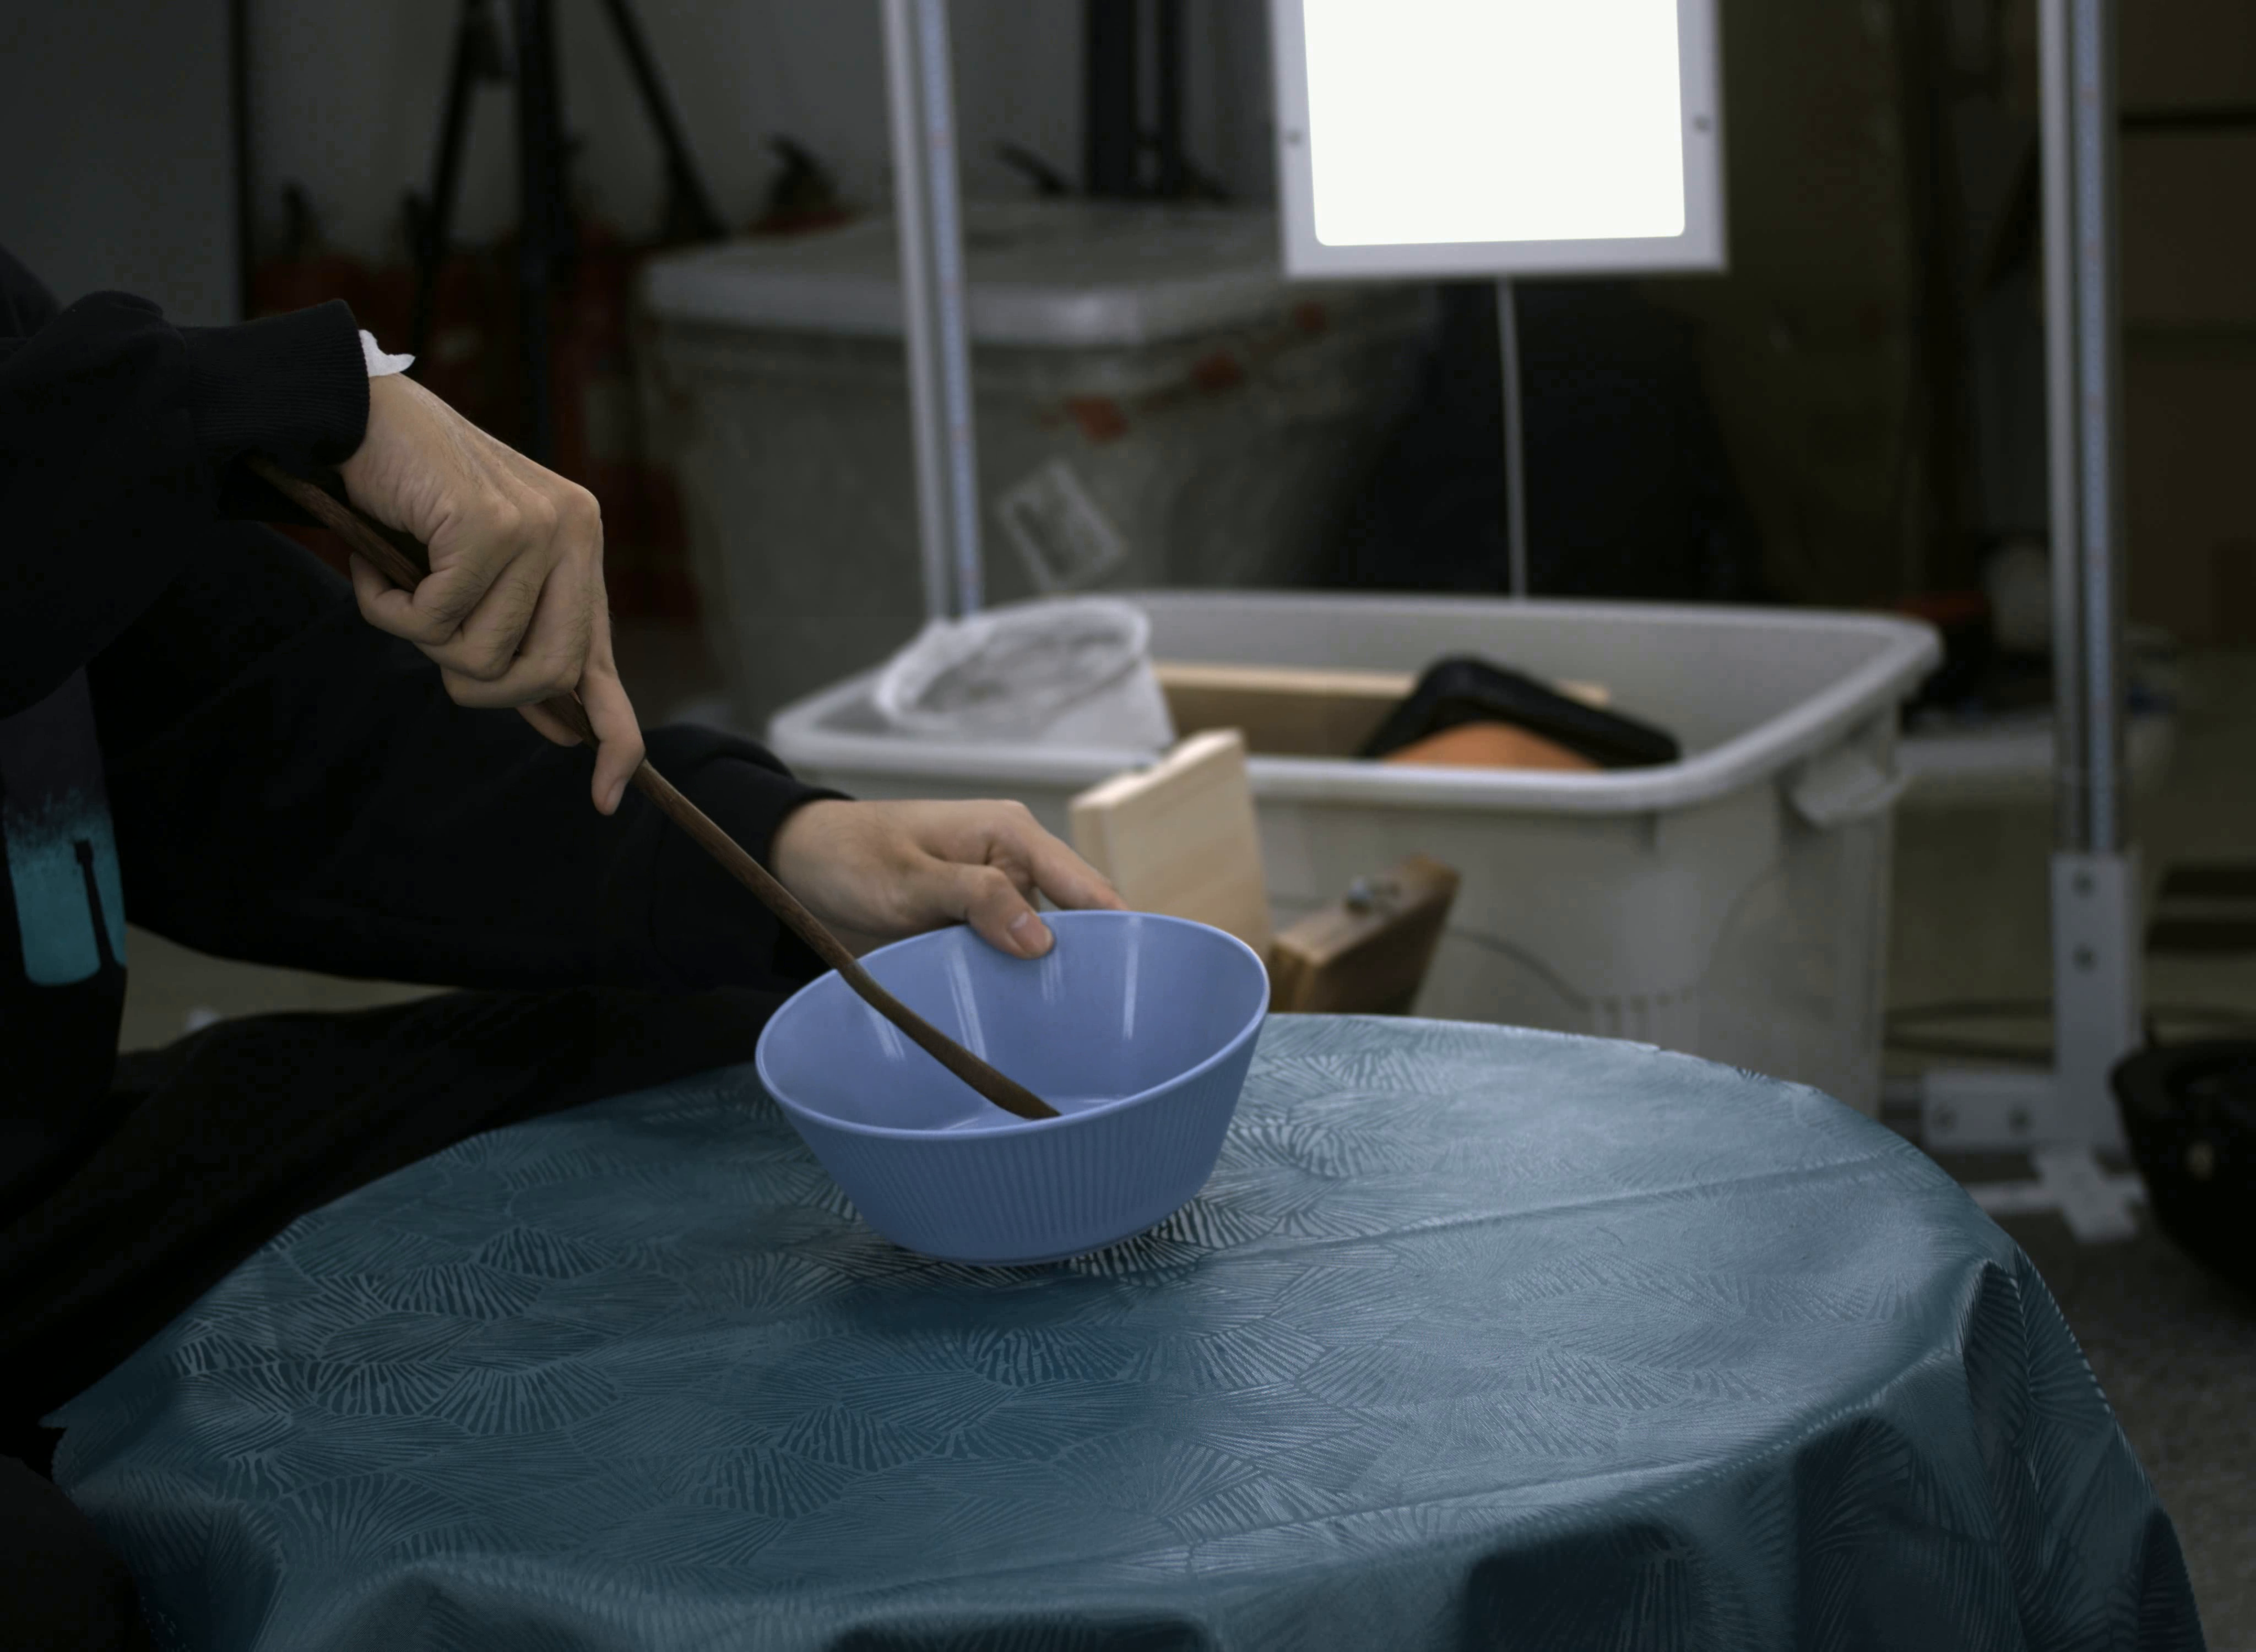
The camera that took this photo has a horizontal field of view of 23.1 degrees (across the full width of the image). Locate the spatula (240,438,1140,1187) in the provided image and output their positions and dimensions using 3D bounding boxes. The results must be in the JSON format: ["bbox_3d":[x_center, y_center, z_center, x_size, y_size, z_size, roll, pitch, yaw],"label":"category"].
[{"bbox_3d":[-0.139,-0.002,1.785,0.016,0.382,0.097,-49,19,-4],"label":"spatula"}]

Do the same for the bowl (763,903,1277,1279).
[{"bbox_3d":[-0.031,0.096,1.859,0.176,0.070,0.175,-10,26,3],"label":"bowl"}]
